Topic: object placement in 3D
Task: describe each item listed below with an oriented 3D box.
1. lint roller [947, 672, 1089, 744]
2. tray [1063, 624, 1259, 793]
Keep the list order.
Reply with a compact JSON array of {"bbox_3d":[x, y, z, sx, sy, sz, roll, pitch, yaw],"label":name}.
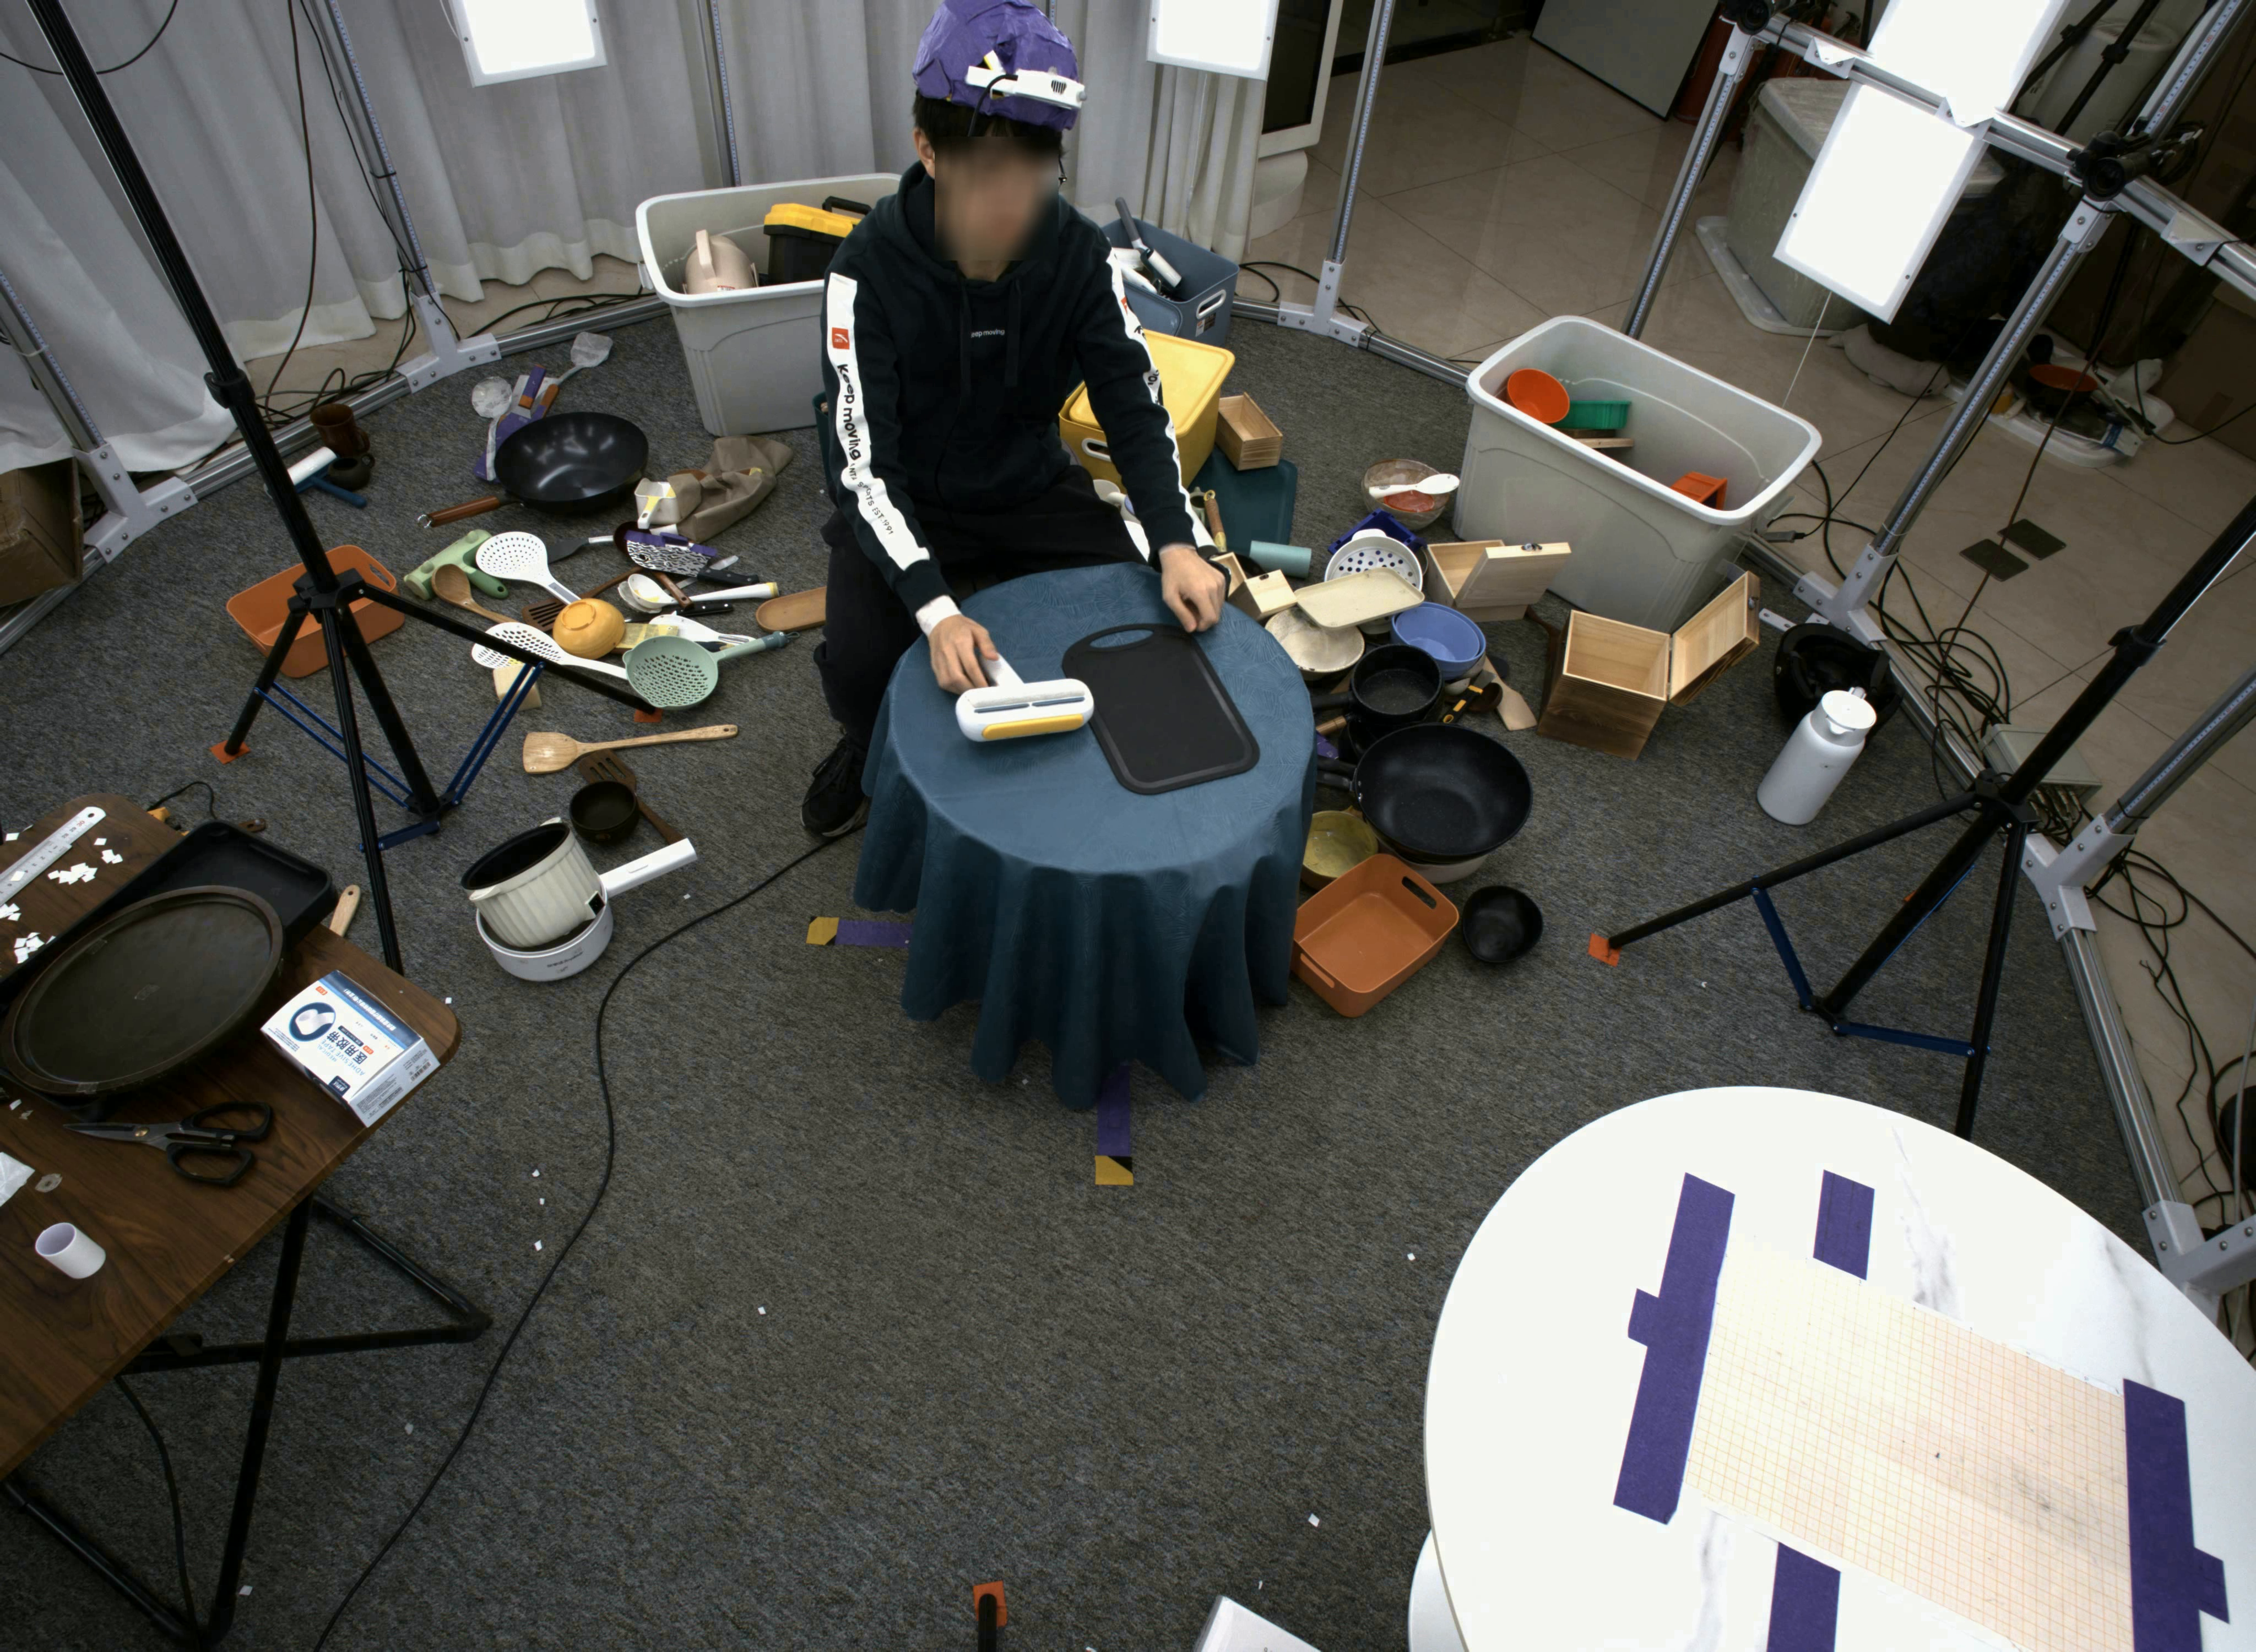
[{"bbox_3d":[-0.166,-0.179,1.793,0.192,0.072,0.197,-7,36,-18],"label":"lint roller"},{"bbox_3d":[0.039,-0.179,1.821,0.211,0.009,0.333,-14,51,-15],"label":"tray"}]
